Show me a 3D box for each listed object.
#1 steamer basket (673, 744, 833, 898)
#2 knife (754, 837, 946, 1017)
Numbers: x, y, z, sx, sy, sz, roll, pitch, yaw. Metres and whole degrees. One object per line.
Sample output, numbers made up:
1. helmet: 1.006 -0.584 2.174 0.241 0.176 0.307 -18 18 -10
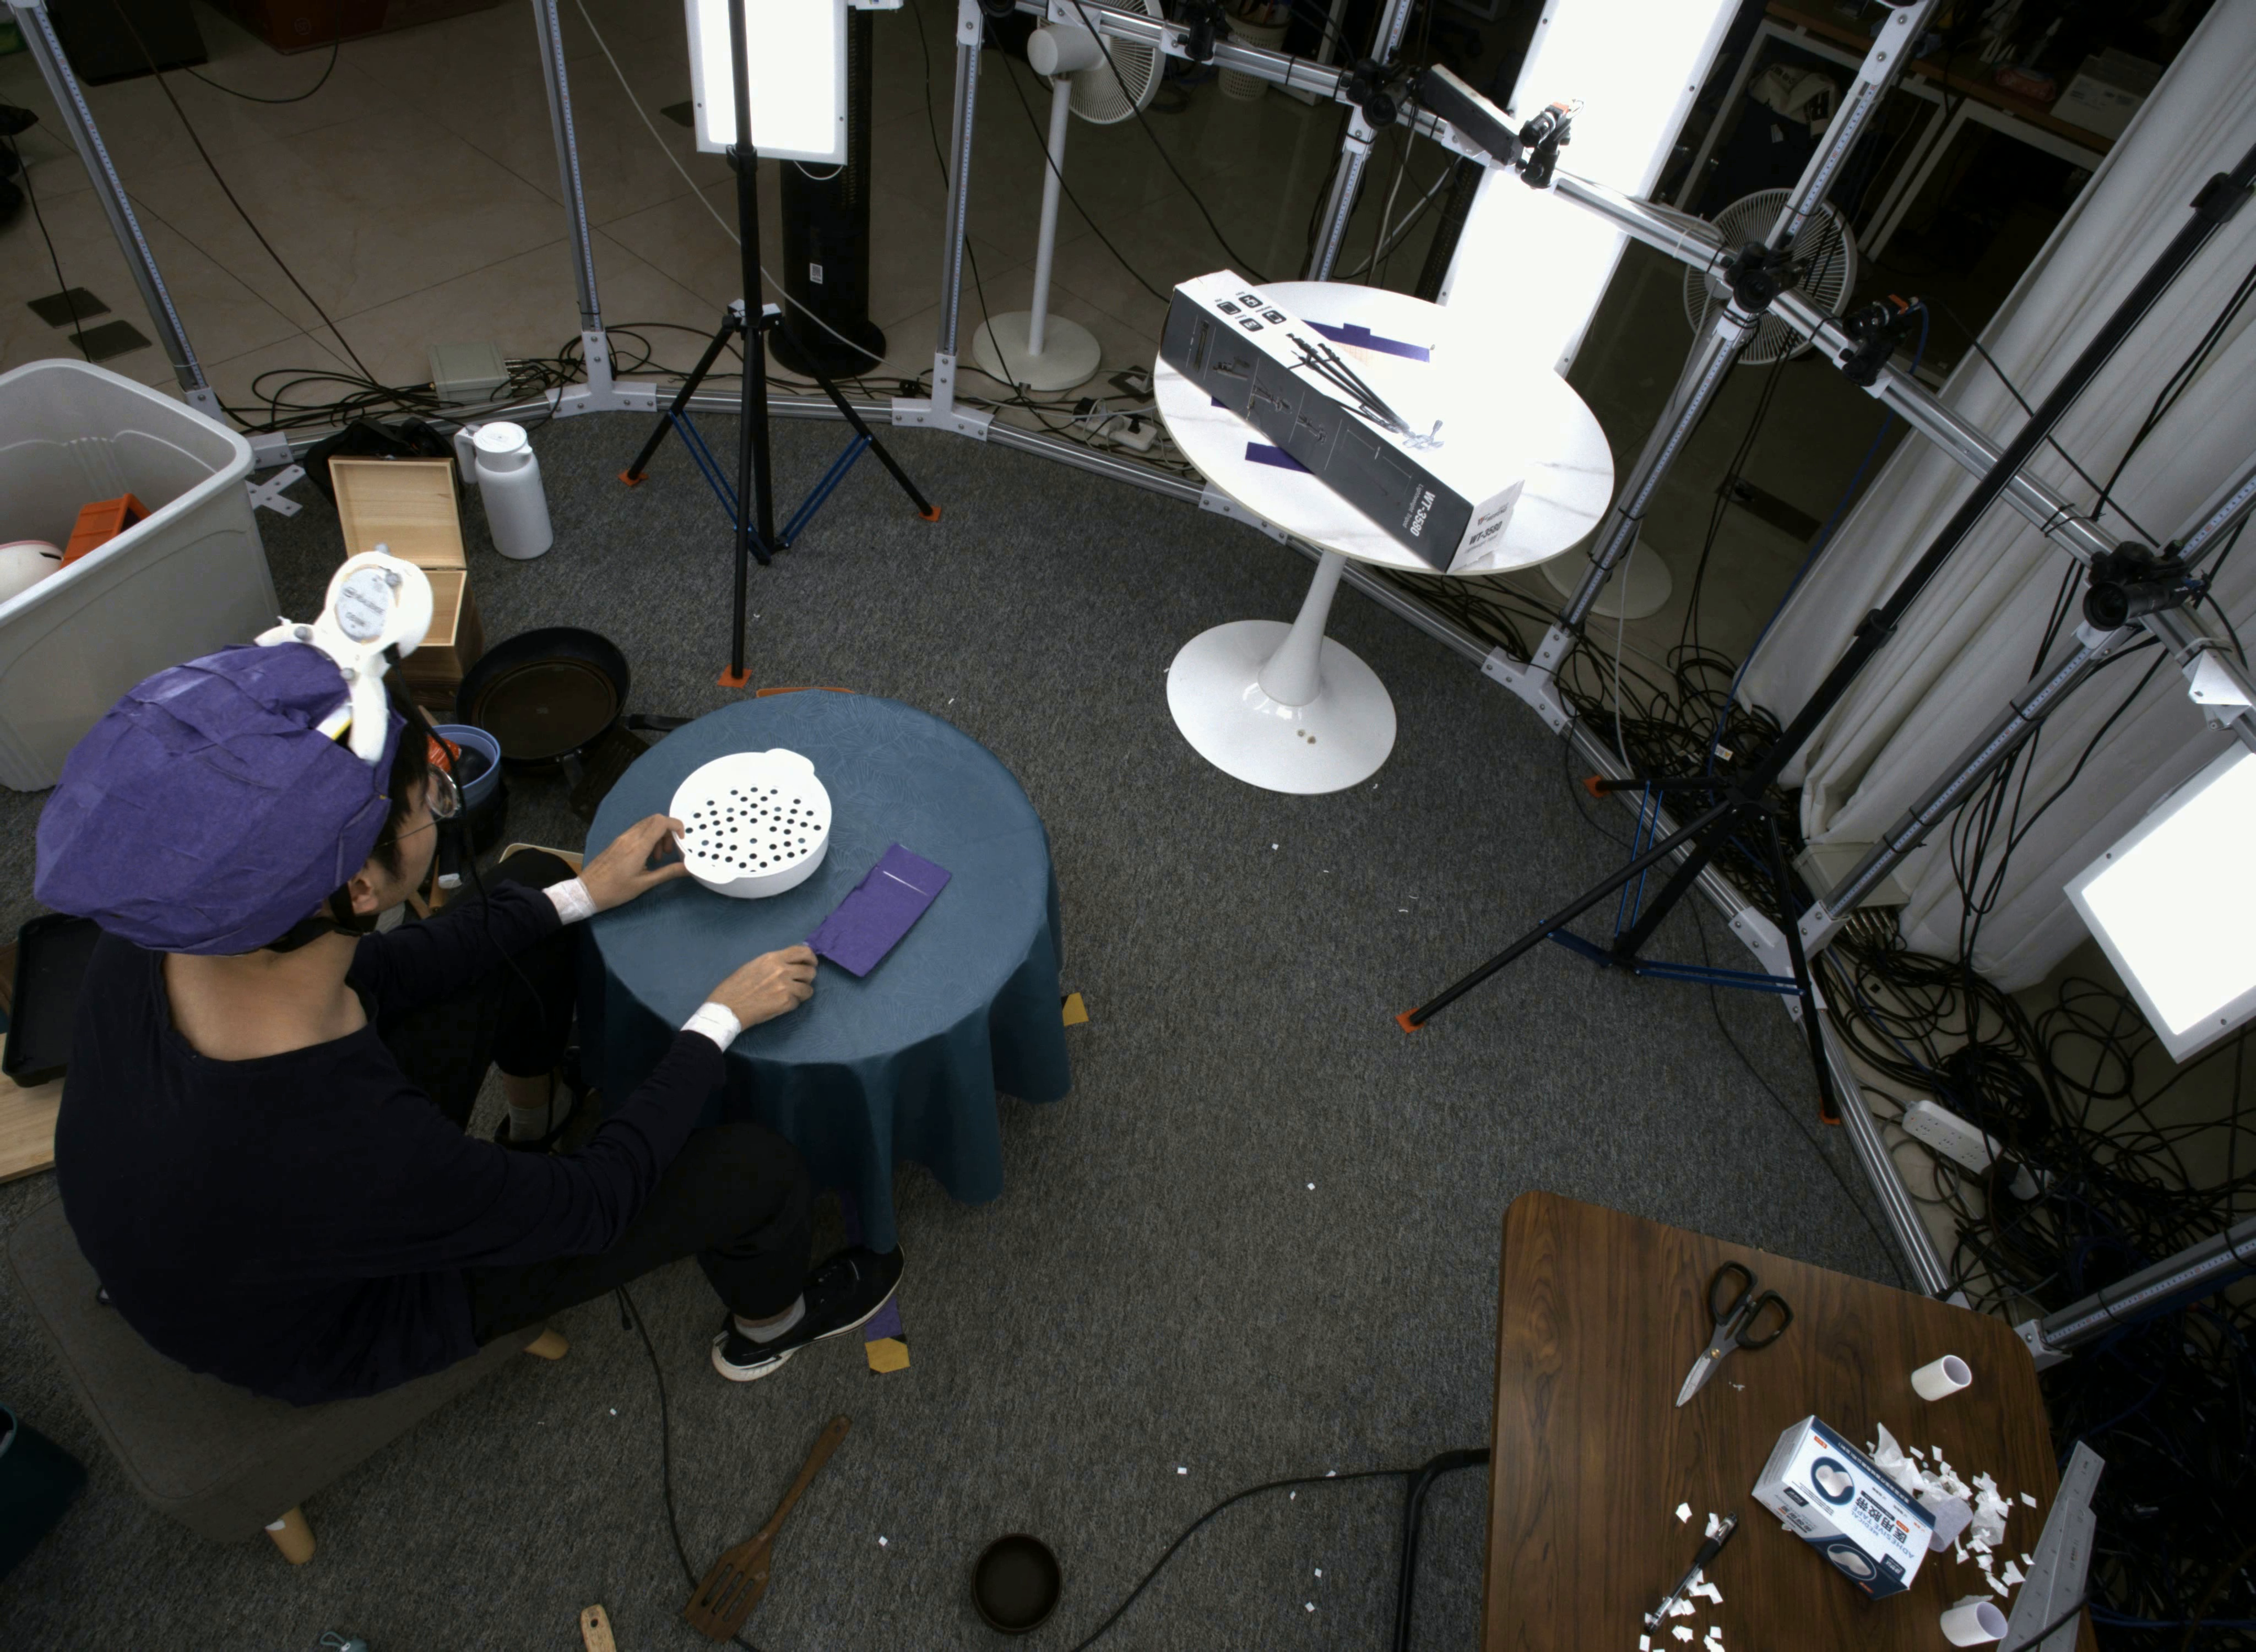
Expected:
1. steamer basket: -0.484 -0.003 1.680 0.199 0.070 0.229 22 55 5
2. knife: -0.340 0.131 1.636 0.102 0.033 0.314 28 50 8
